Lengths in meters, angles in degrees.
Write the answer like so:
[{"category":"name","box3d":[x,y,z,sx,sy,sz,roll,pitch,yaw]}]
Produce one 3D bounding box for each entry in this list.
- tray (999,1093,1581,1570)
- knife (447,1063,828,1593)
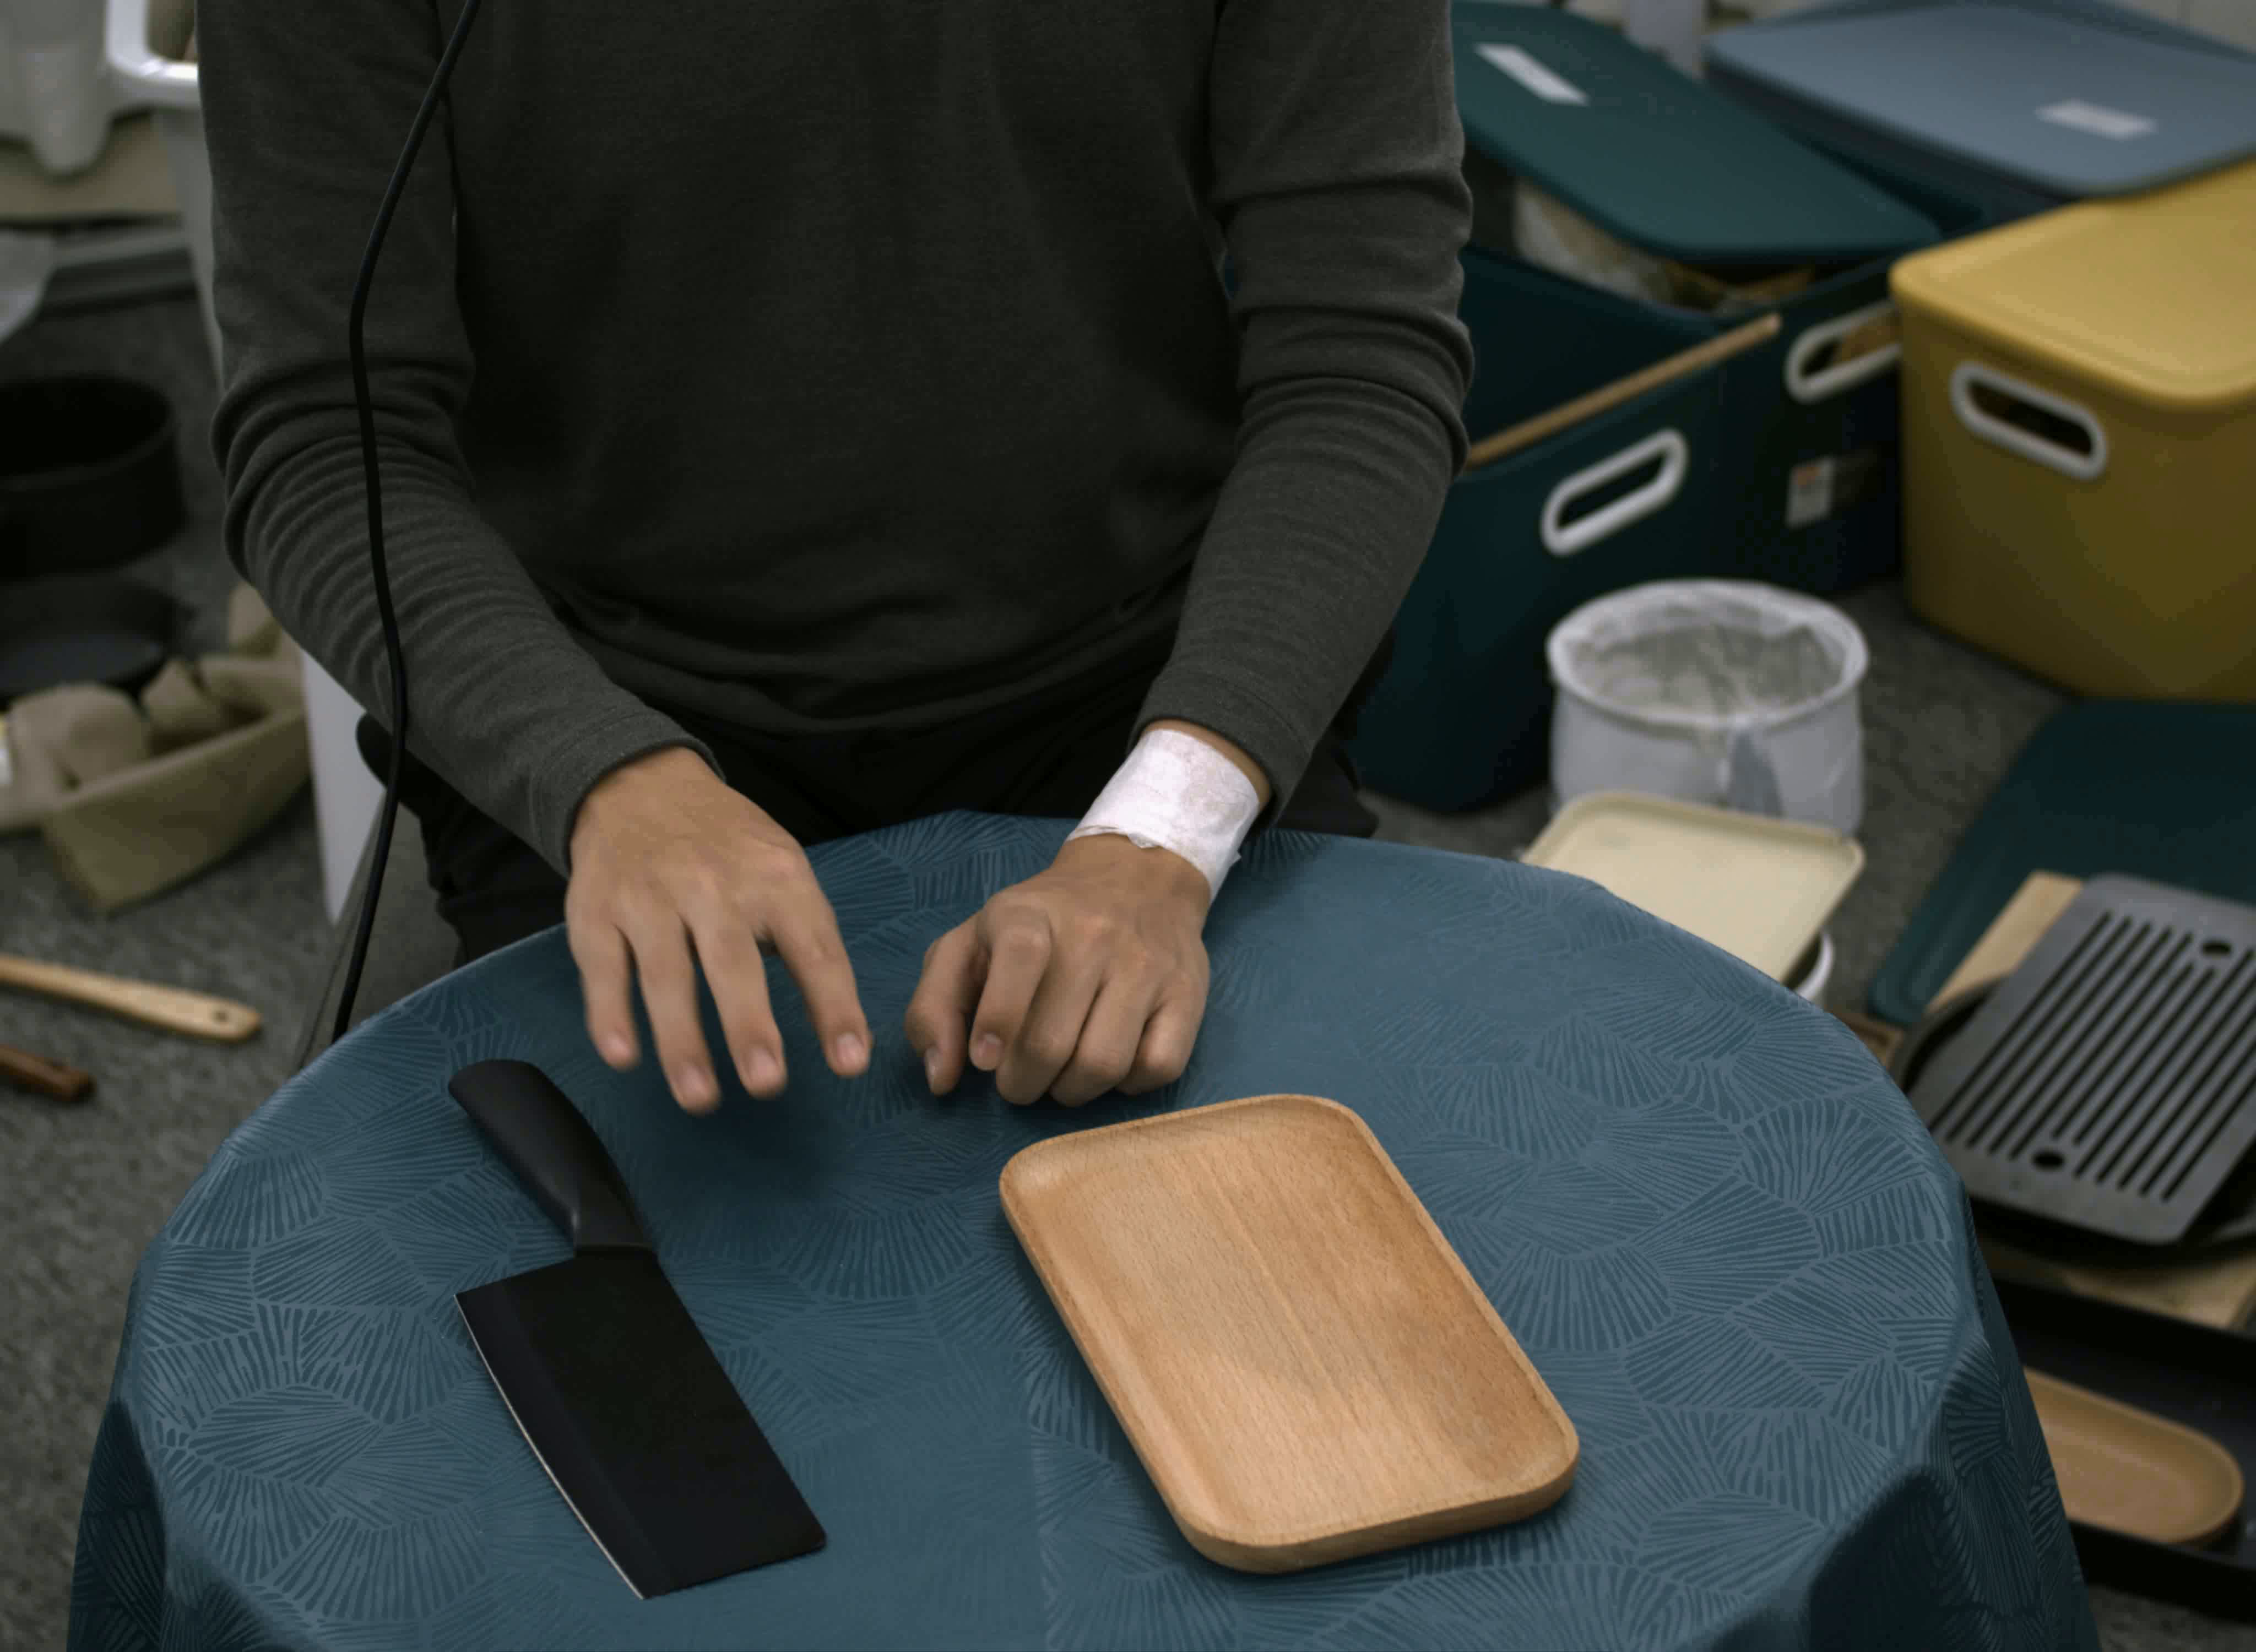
[{"category":"tray","box3d":[0.047,0.156,1.772,0.130,0.022,0.253,-8,26,-14]},{"category":"knife","box3d":[-0.172,0.156,1.796,0.081,0.020,0.305,-12,30,-14]}]
